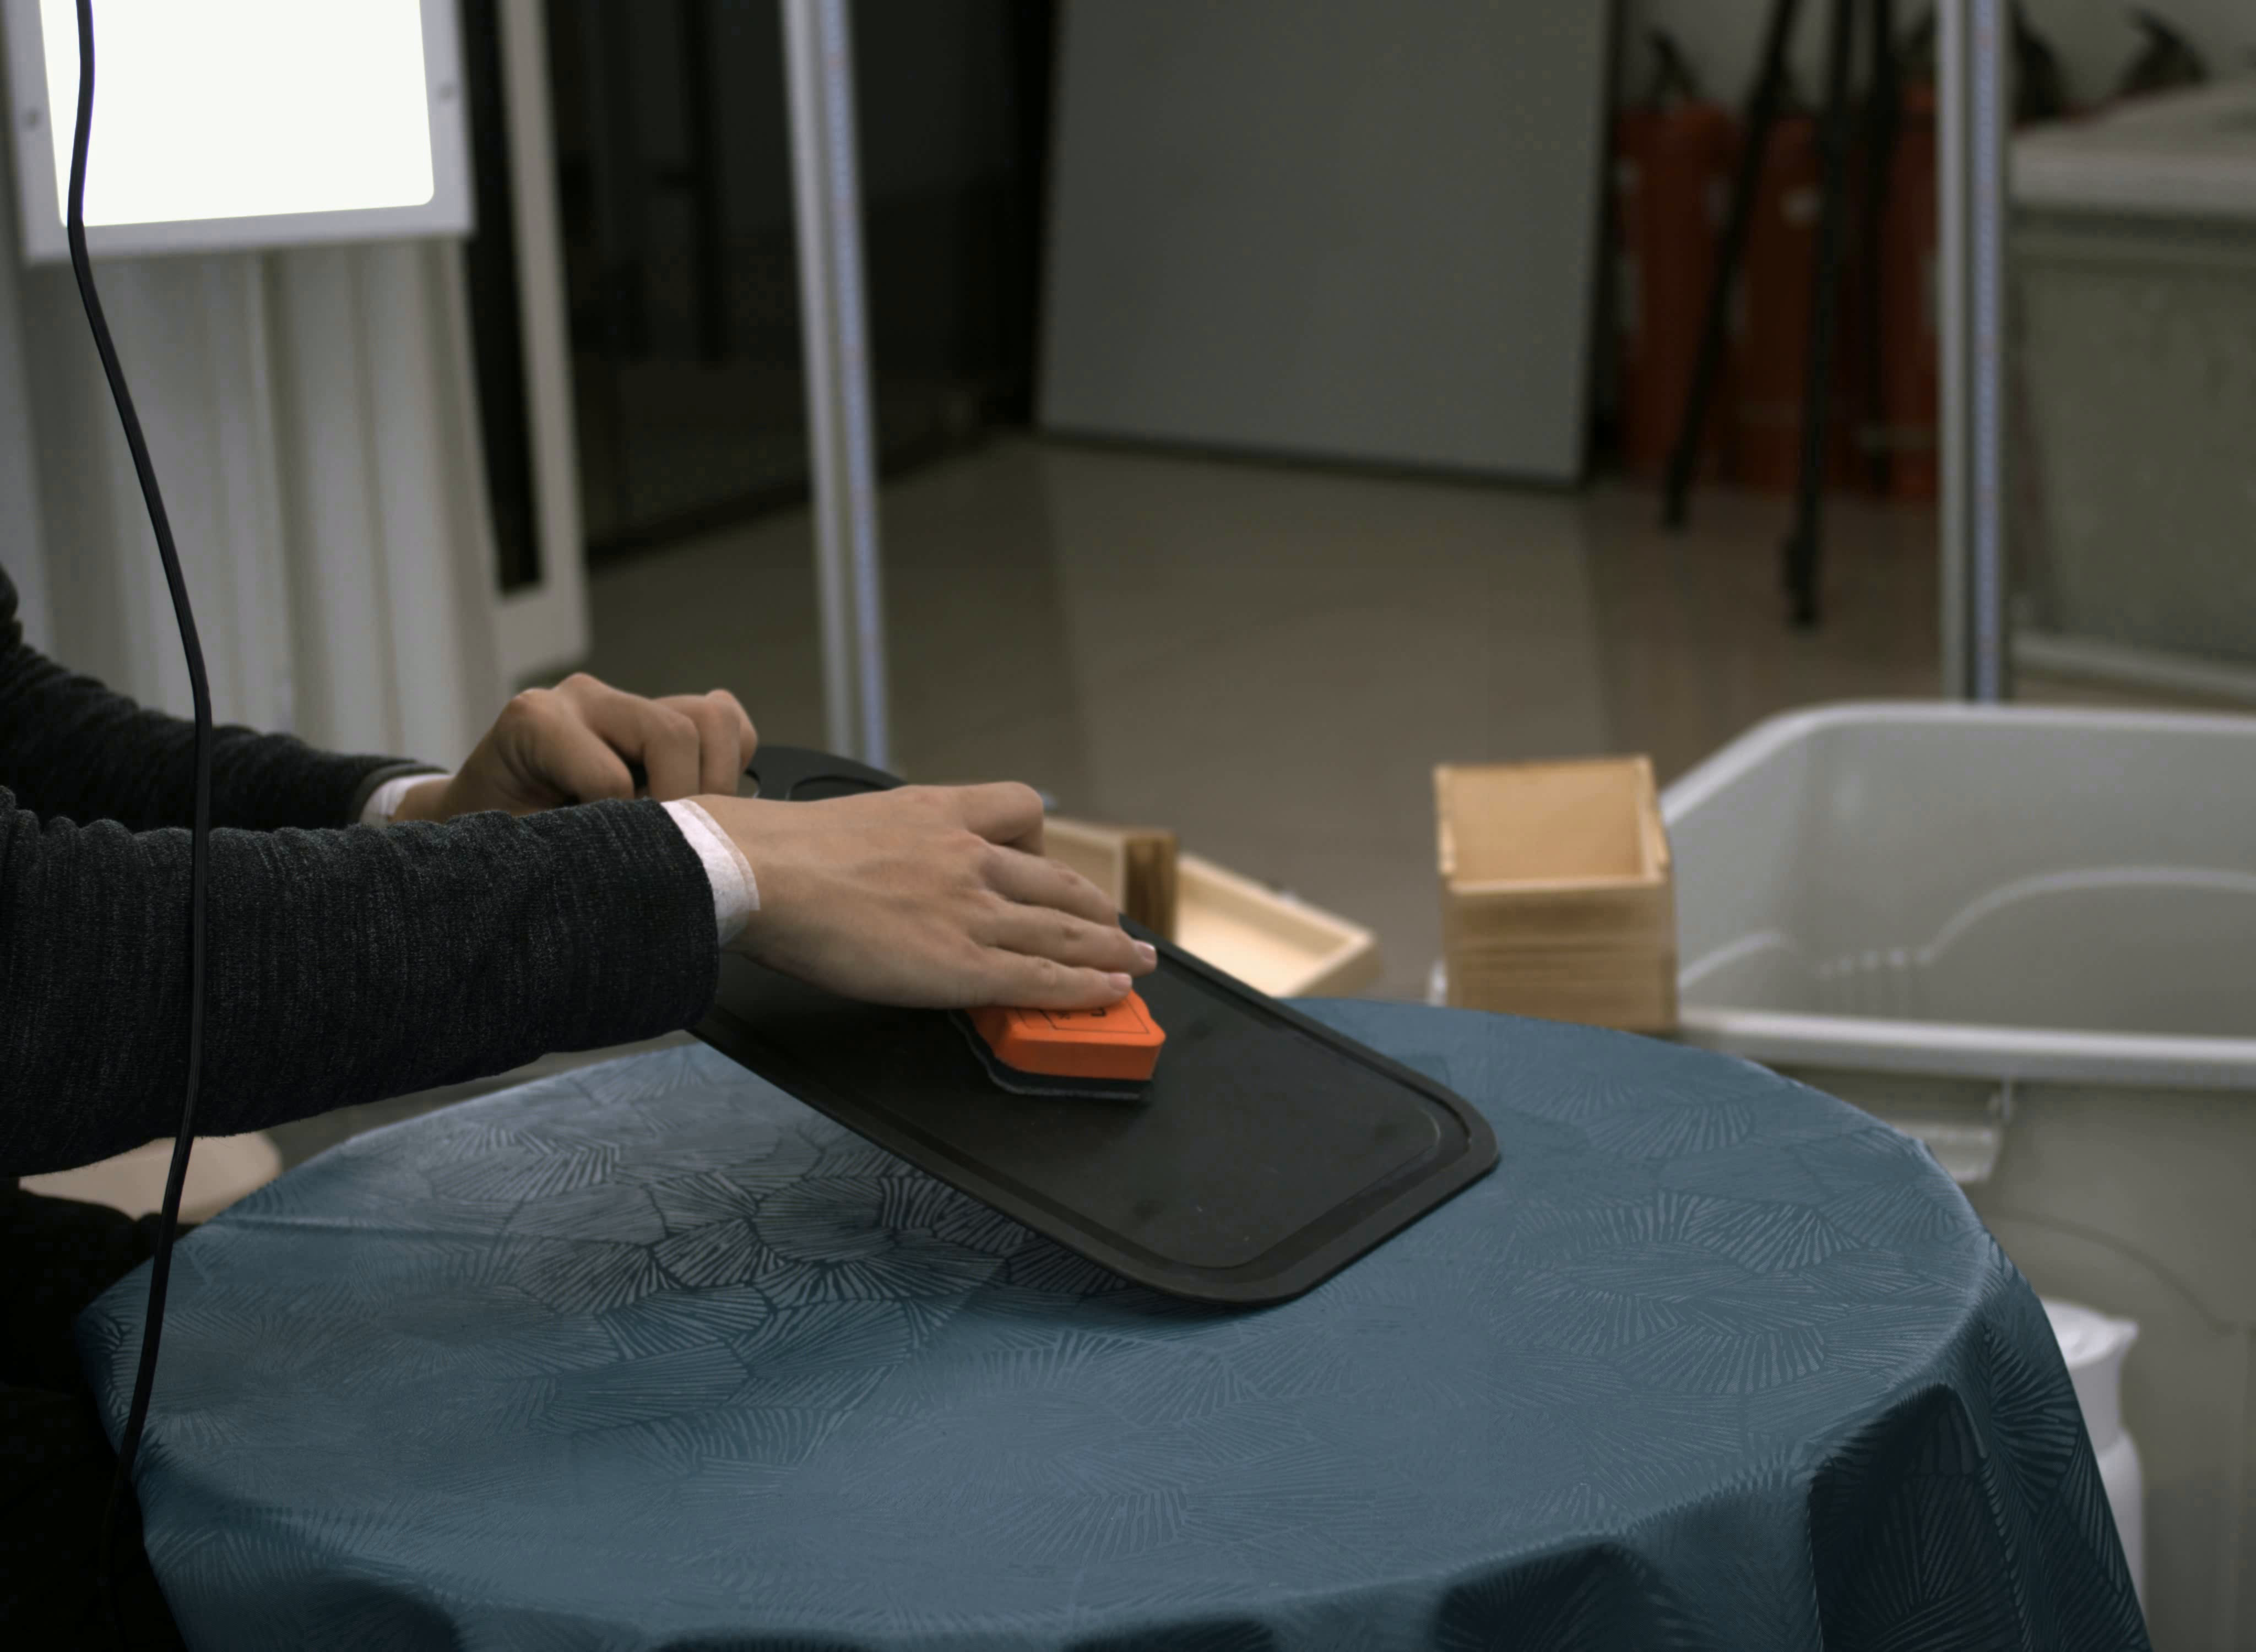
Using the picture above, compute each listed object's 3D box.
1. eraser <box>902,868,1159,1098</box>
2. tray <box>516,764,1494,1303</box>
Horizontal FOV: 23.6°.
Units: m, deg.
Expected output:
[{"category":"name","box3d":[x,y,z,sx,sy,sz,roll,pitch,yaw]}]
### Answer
[{"category":"eraser","box3d":[-0.033,0.051,1.776,0.057,0.023,0.109,3,28,-24]},{"category":"tray","box3d":[-0.046,0.059,1.773,0.327,0.010,0.207,29,26,24]}]
